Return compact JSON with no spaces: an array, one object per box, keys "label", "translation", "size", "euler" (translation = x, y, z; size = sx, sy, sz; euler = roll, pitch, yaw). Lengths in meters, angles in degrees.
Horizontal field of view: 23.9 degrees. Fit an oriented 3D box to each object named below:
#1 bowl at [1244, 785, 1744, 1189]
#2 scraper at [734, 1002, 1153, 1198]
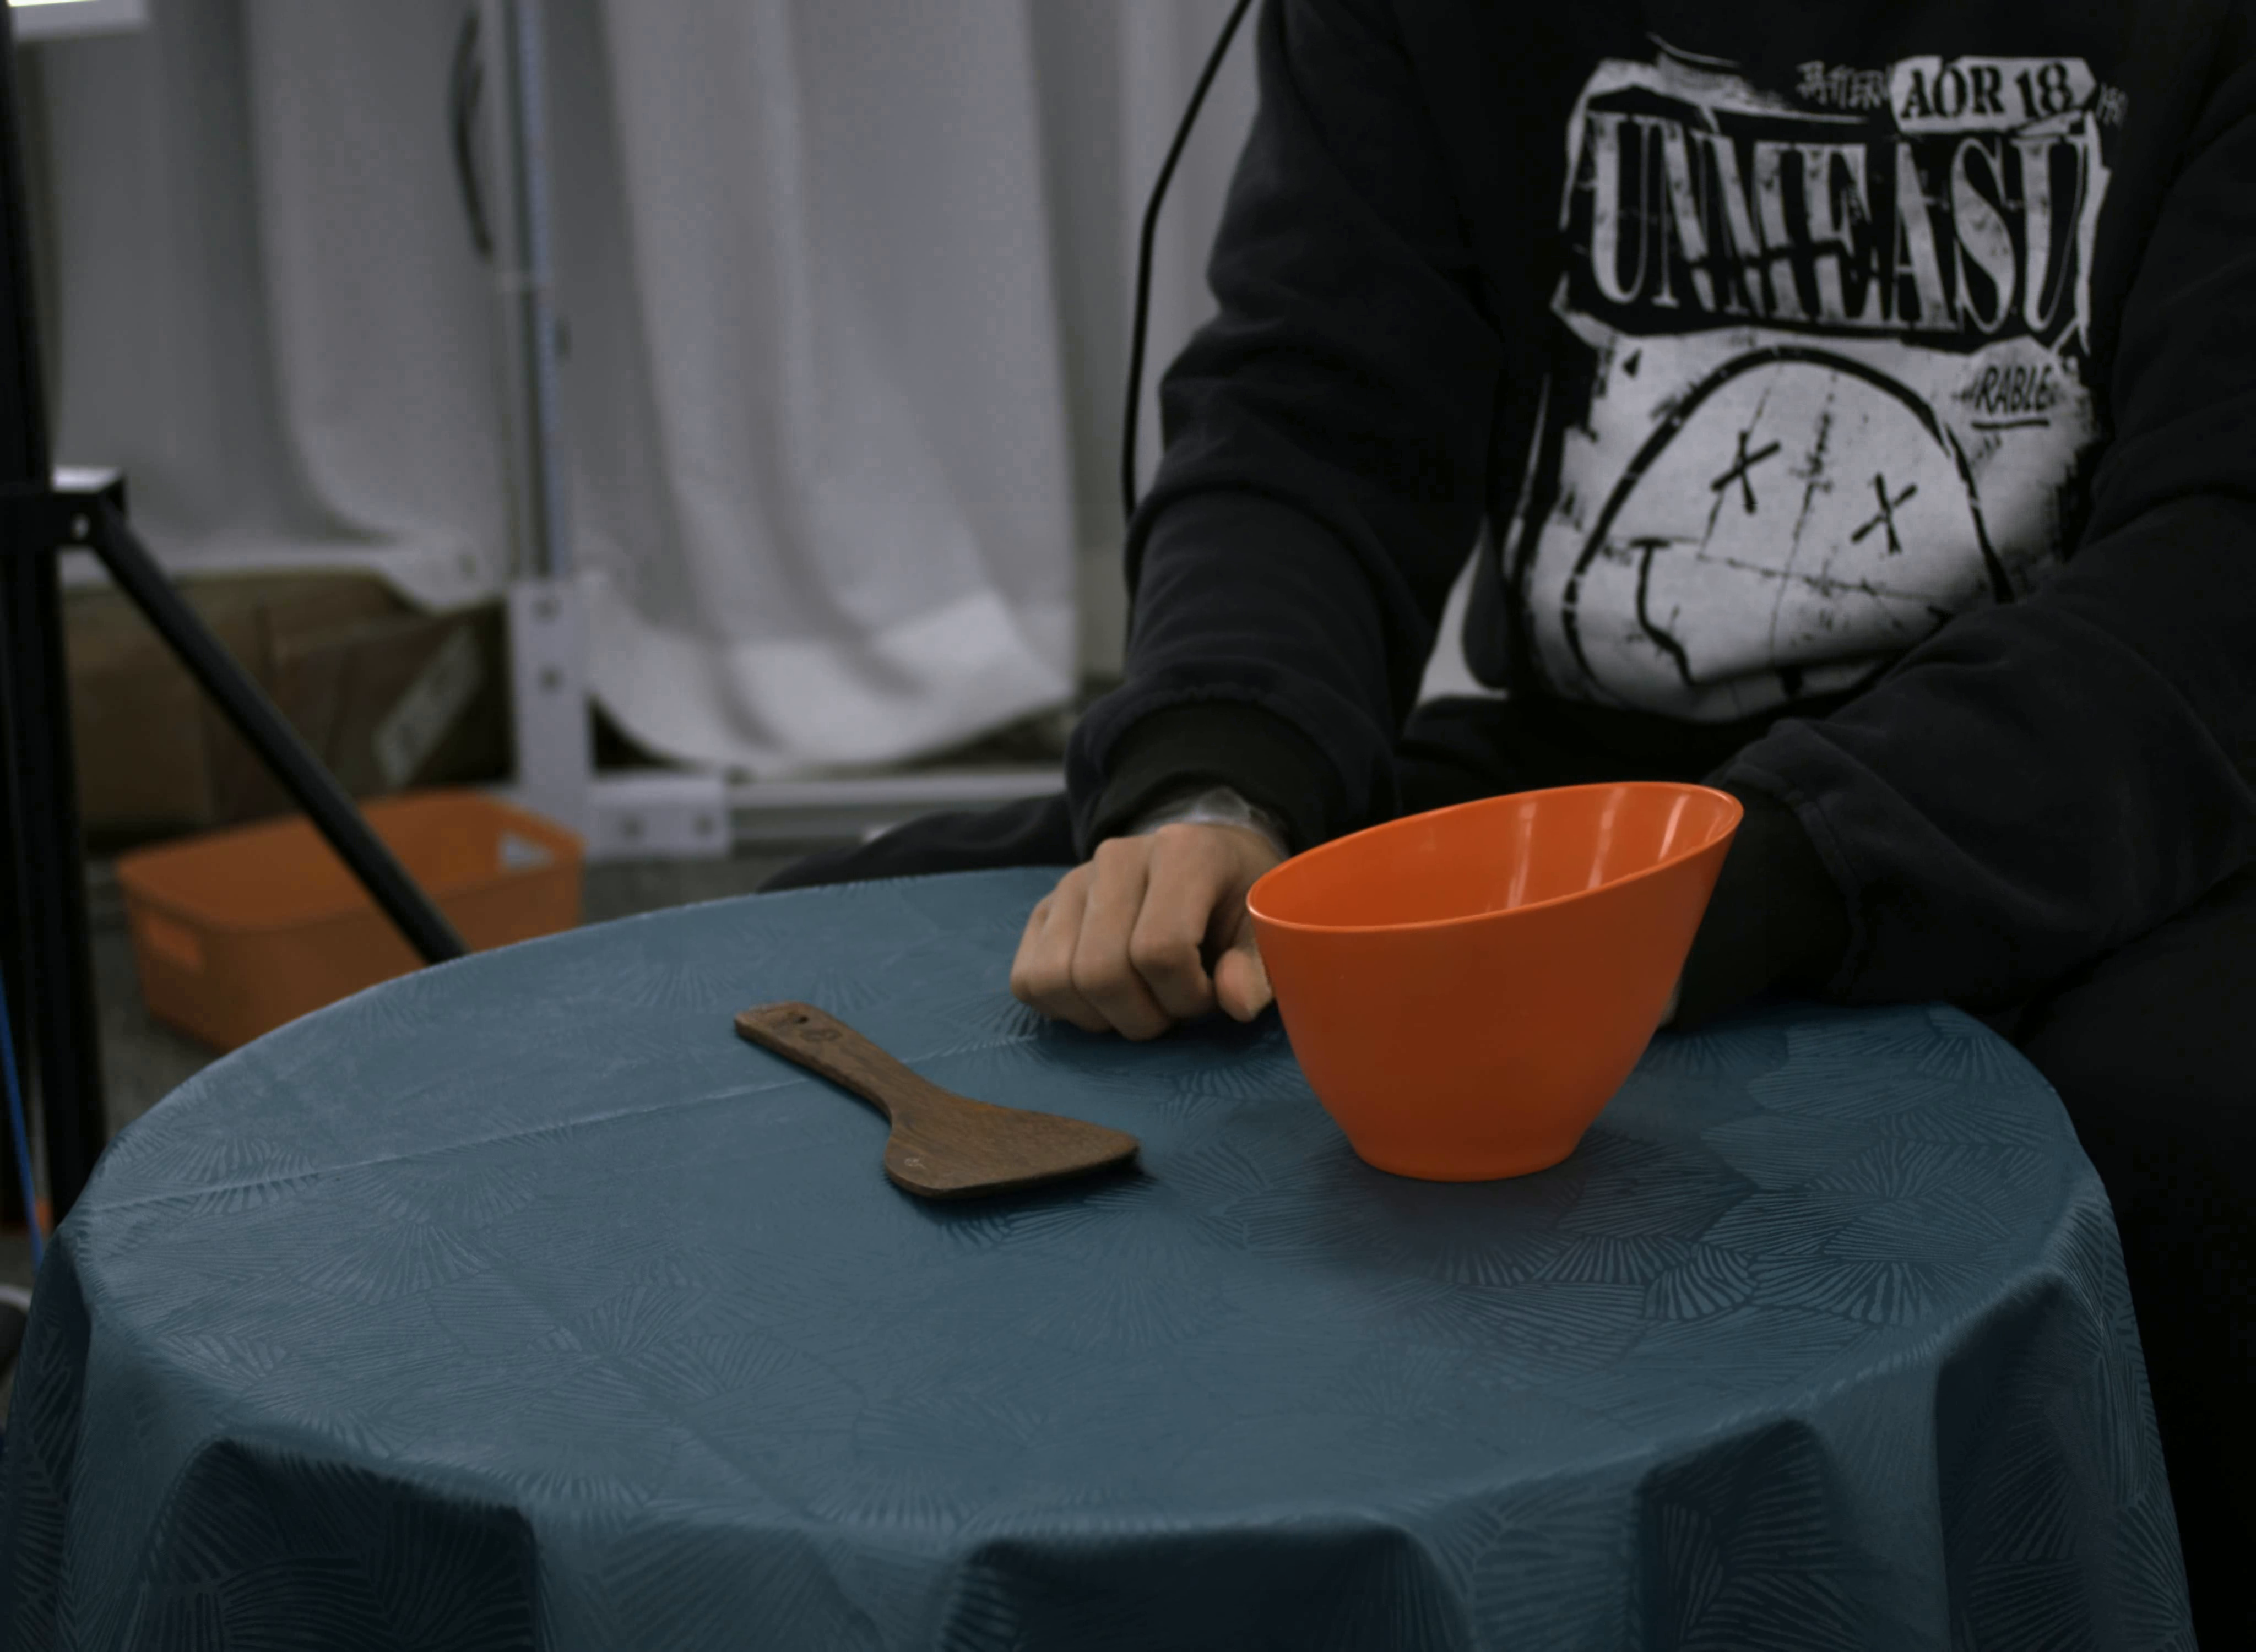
[{"label":"bowl","translation":[0.108,0.049,1.565],"size":[0.147,0.104,0.149],"euler":[-3,16,-1]},{"label":"scraper","translation":[-0.069,0.083,1.643],"size":[0.074,0.011,0.215],"euler":[-9,16,-26]}]
